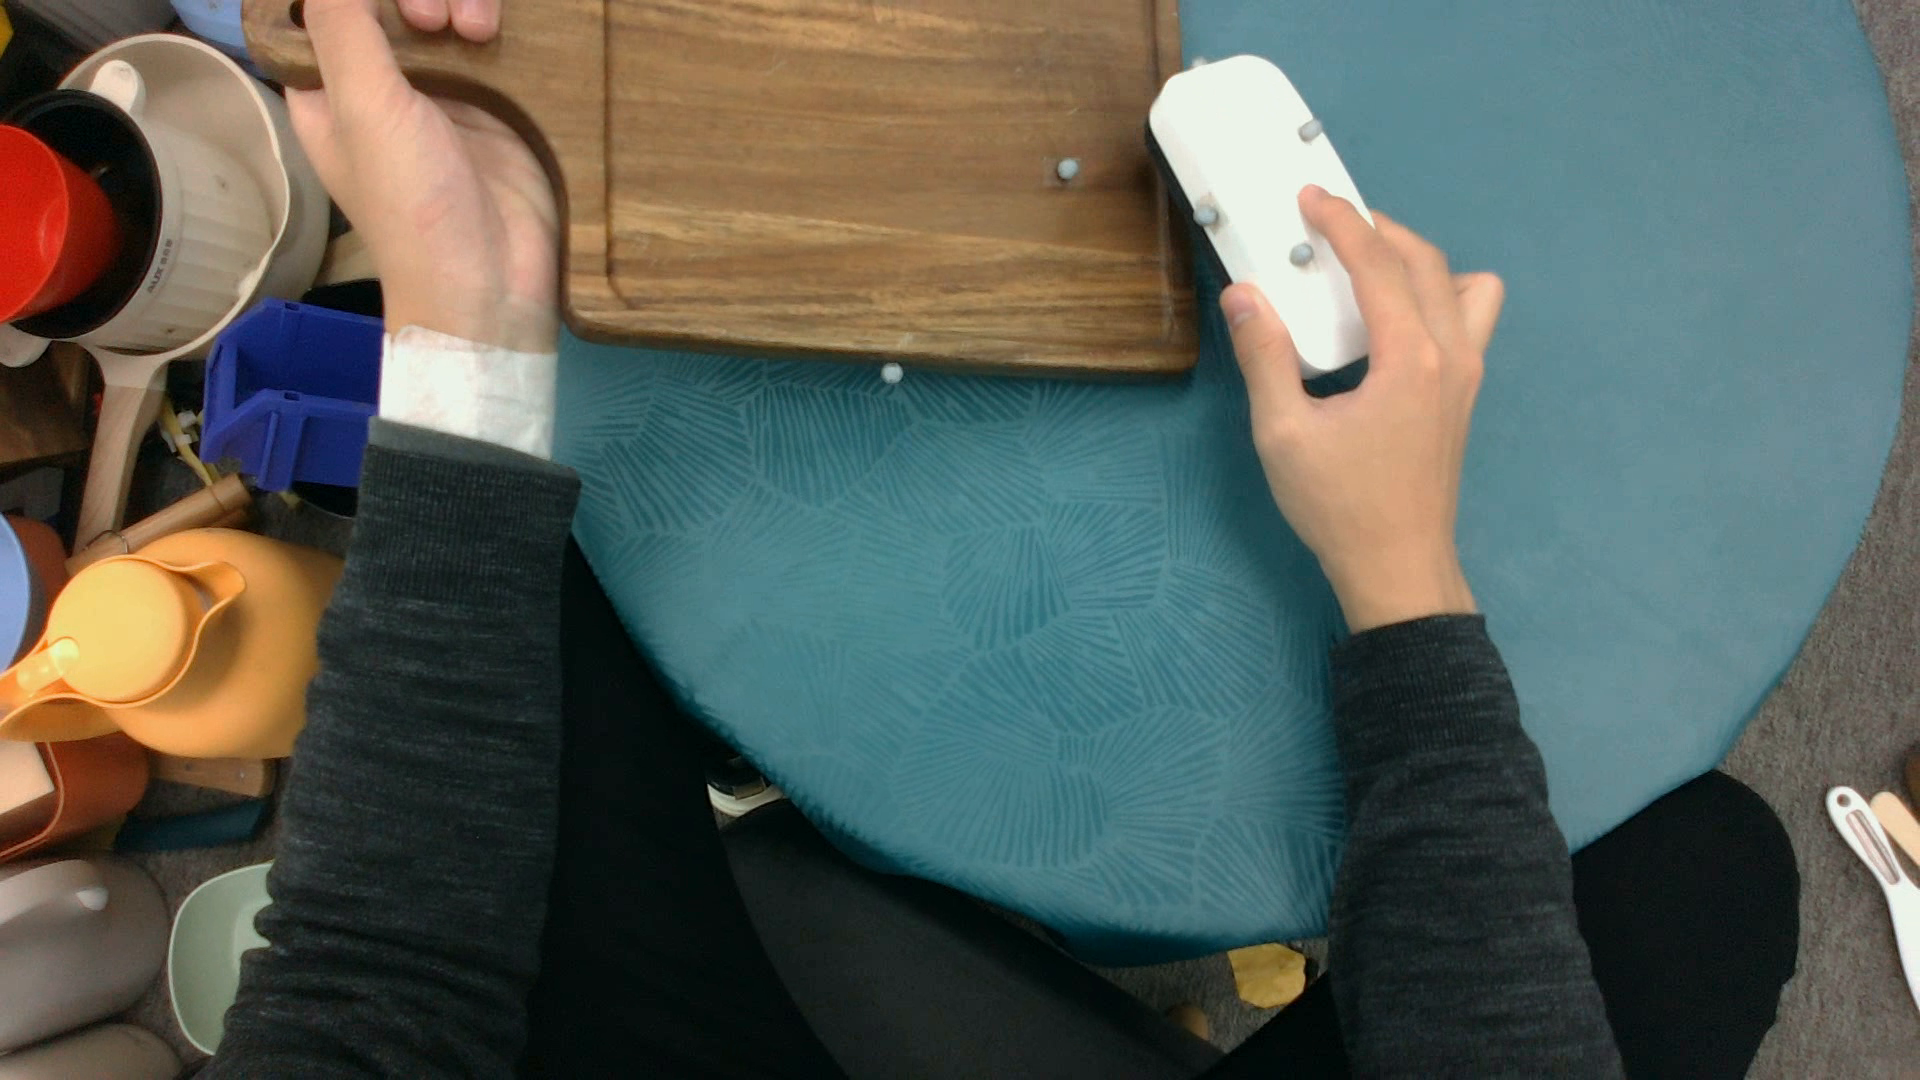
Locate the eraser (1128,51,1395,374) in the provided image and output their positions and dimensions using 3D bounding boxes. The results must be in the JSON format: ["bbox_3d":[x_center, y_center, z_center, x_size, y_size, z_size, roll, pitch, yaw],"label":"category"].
[{"bbox_3d":[0.118,-0.130,0.543,0.063,0.034,0.131,-24,83,-27],"label":"eraser"}]

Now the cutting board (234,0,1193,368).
[{"bbox_3d":[-0.073,-0.169,0.516,0.353,0.023,0.201,0,81,-23],"label":"cutting board"}]
